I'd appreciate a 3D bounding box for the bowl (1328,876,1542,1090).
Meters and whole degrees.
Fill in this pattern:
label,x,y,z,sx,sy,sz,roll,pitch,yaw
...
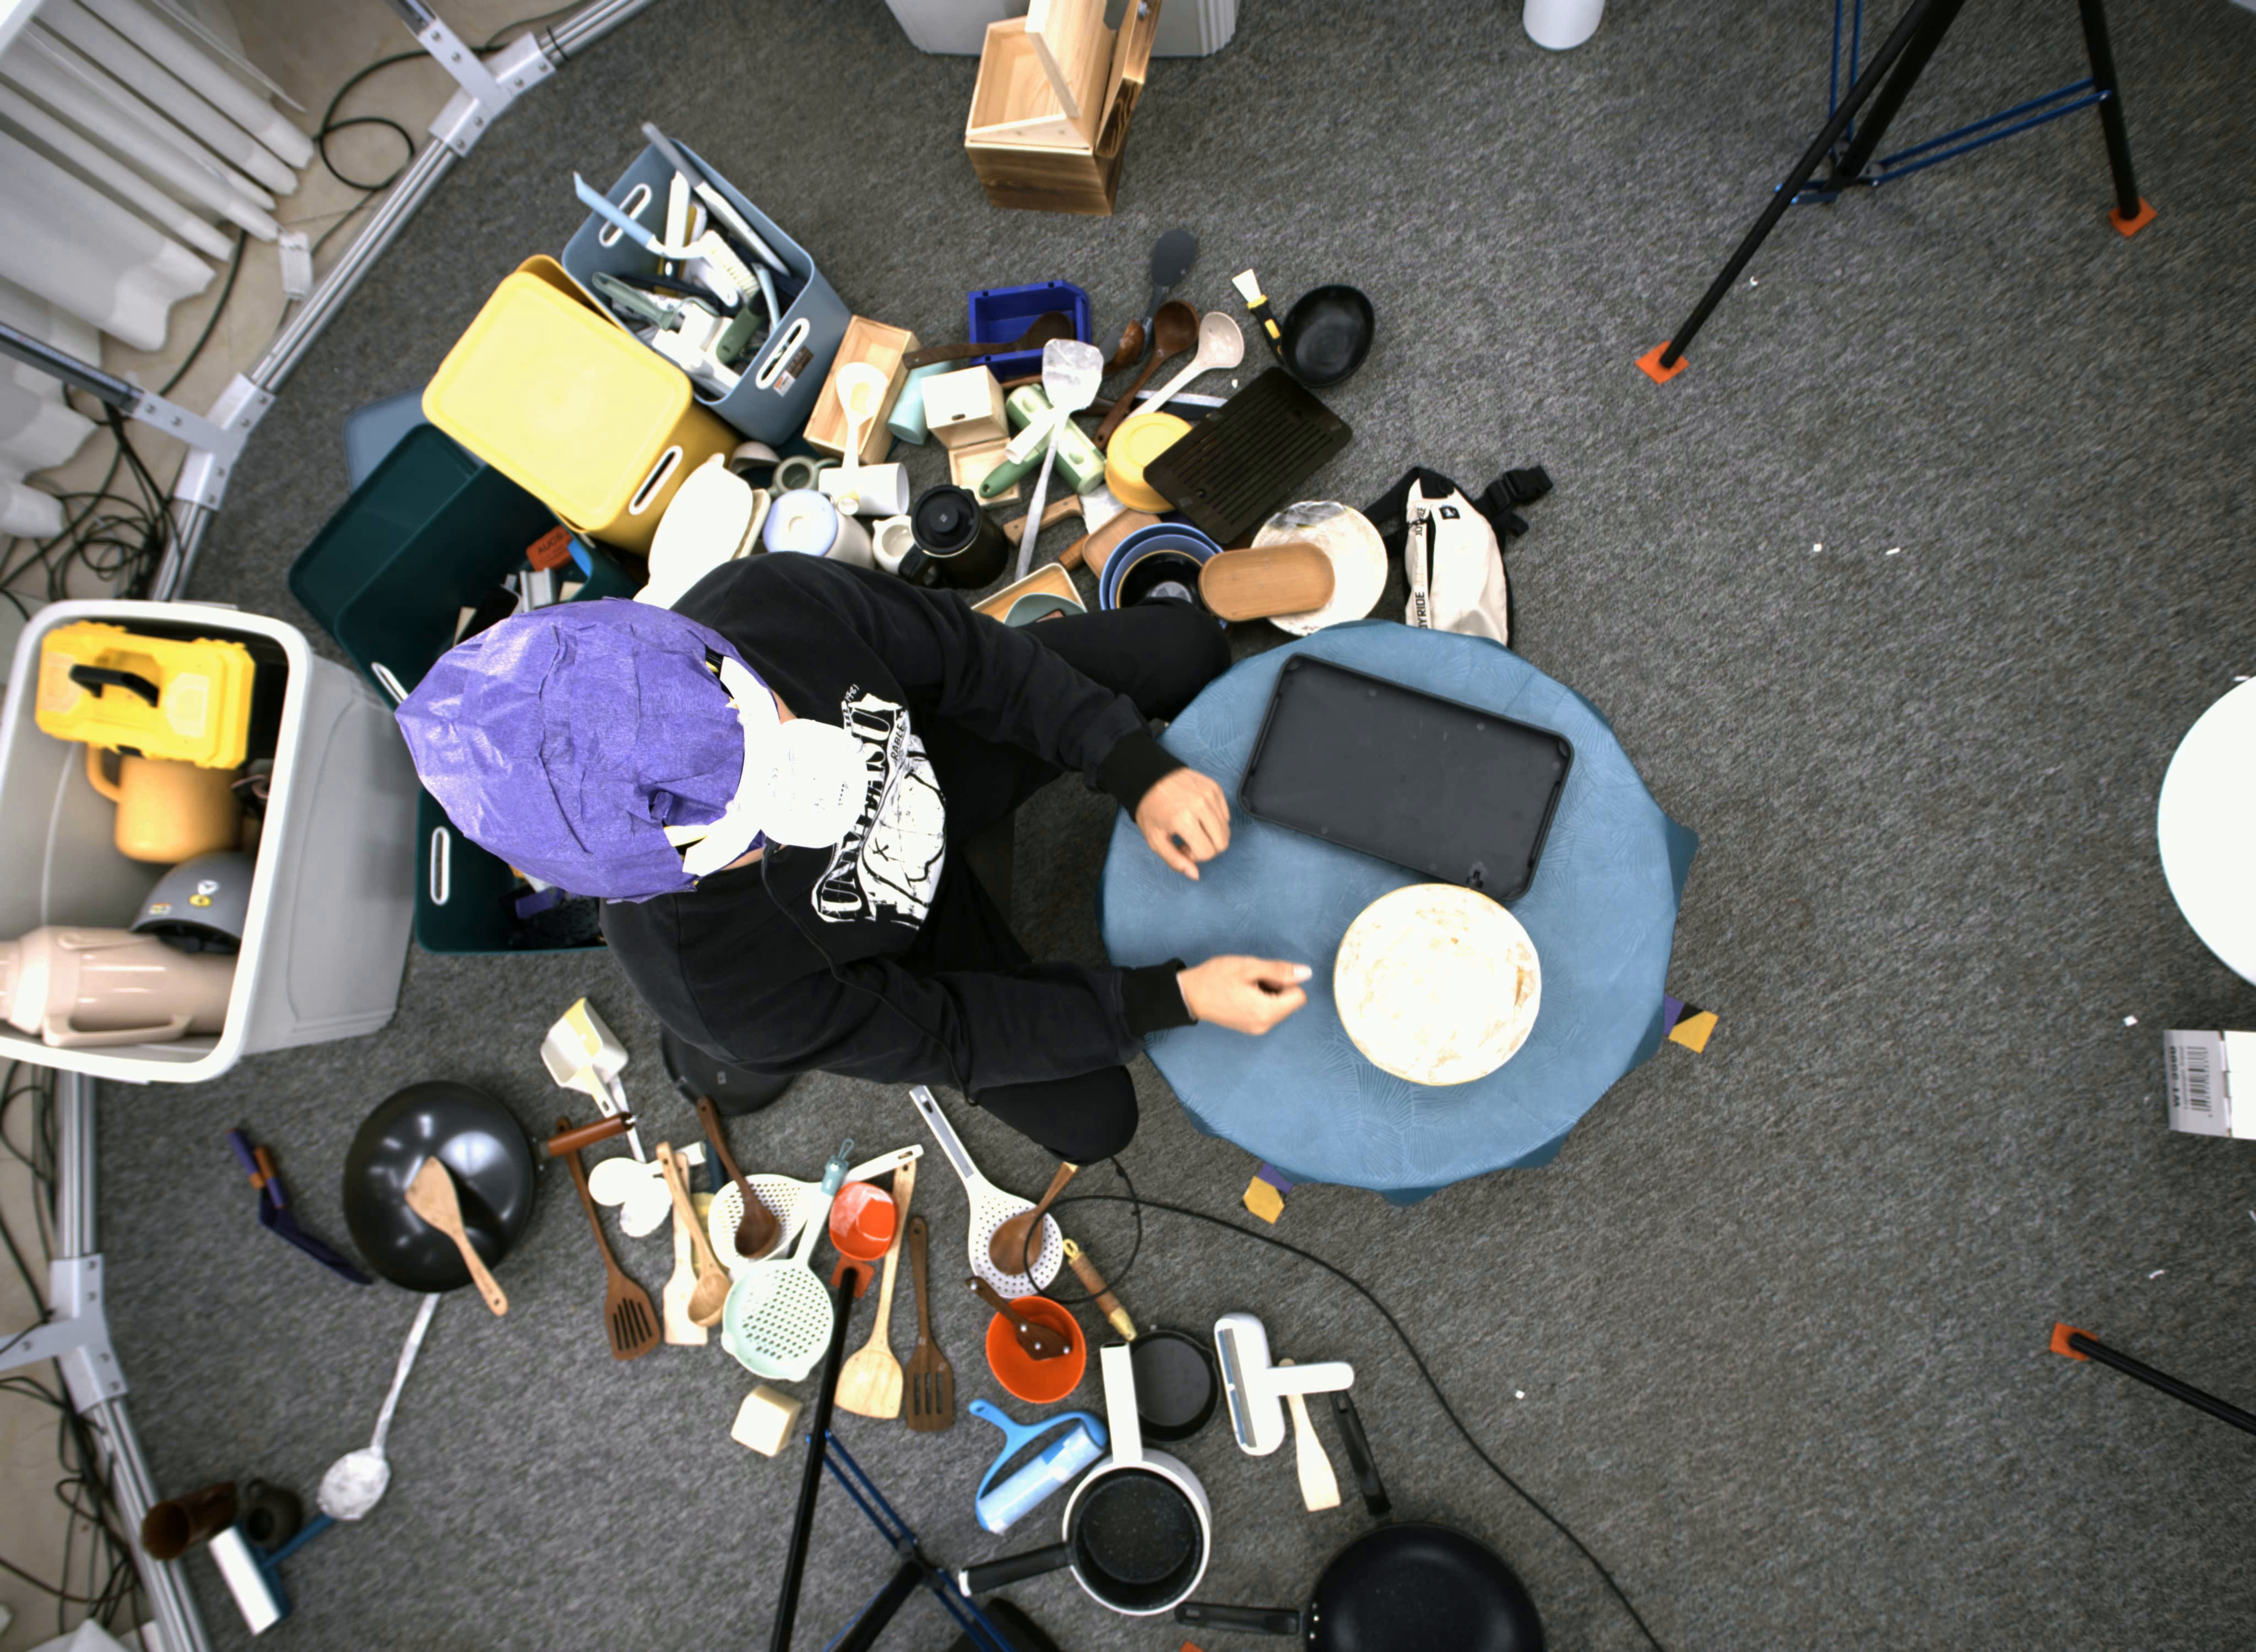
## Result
label,x,y,z,sx,sy,sz,roll,pitch,yaw
bowl,0.310,0.158,1.405,0.215,0.094,0.214,-1,87,11

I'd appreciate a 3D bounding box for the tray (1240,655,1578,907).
label,x,y,z,sx,sy,sz,roll,pitch,yaw
tray,0.292,-0.050,1.448,0.318,0.037,0.184,20,91,13
